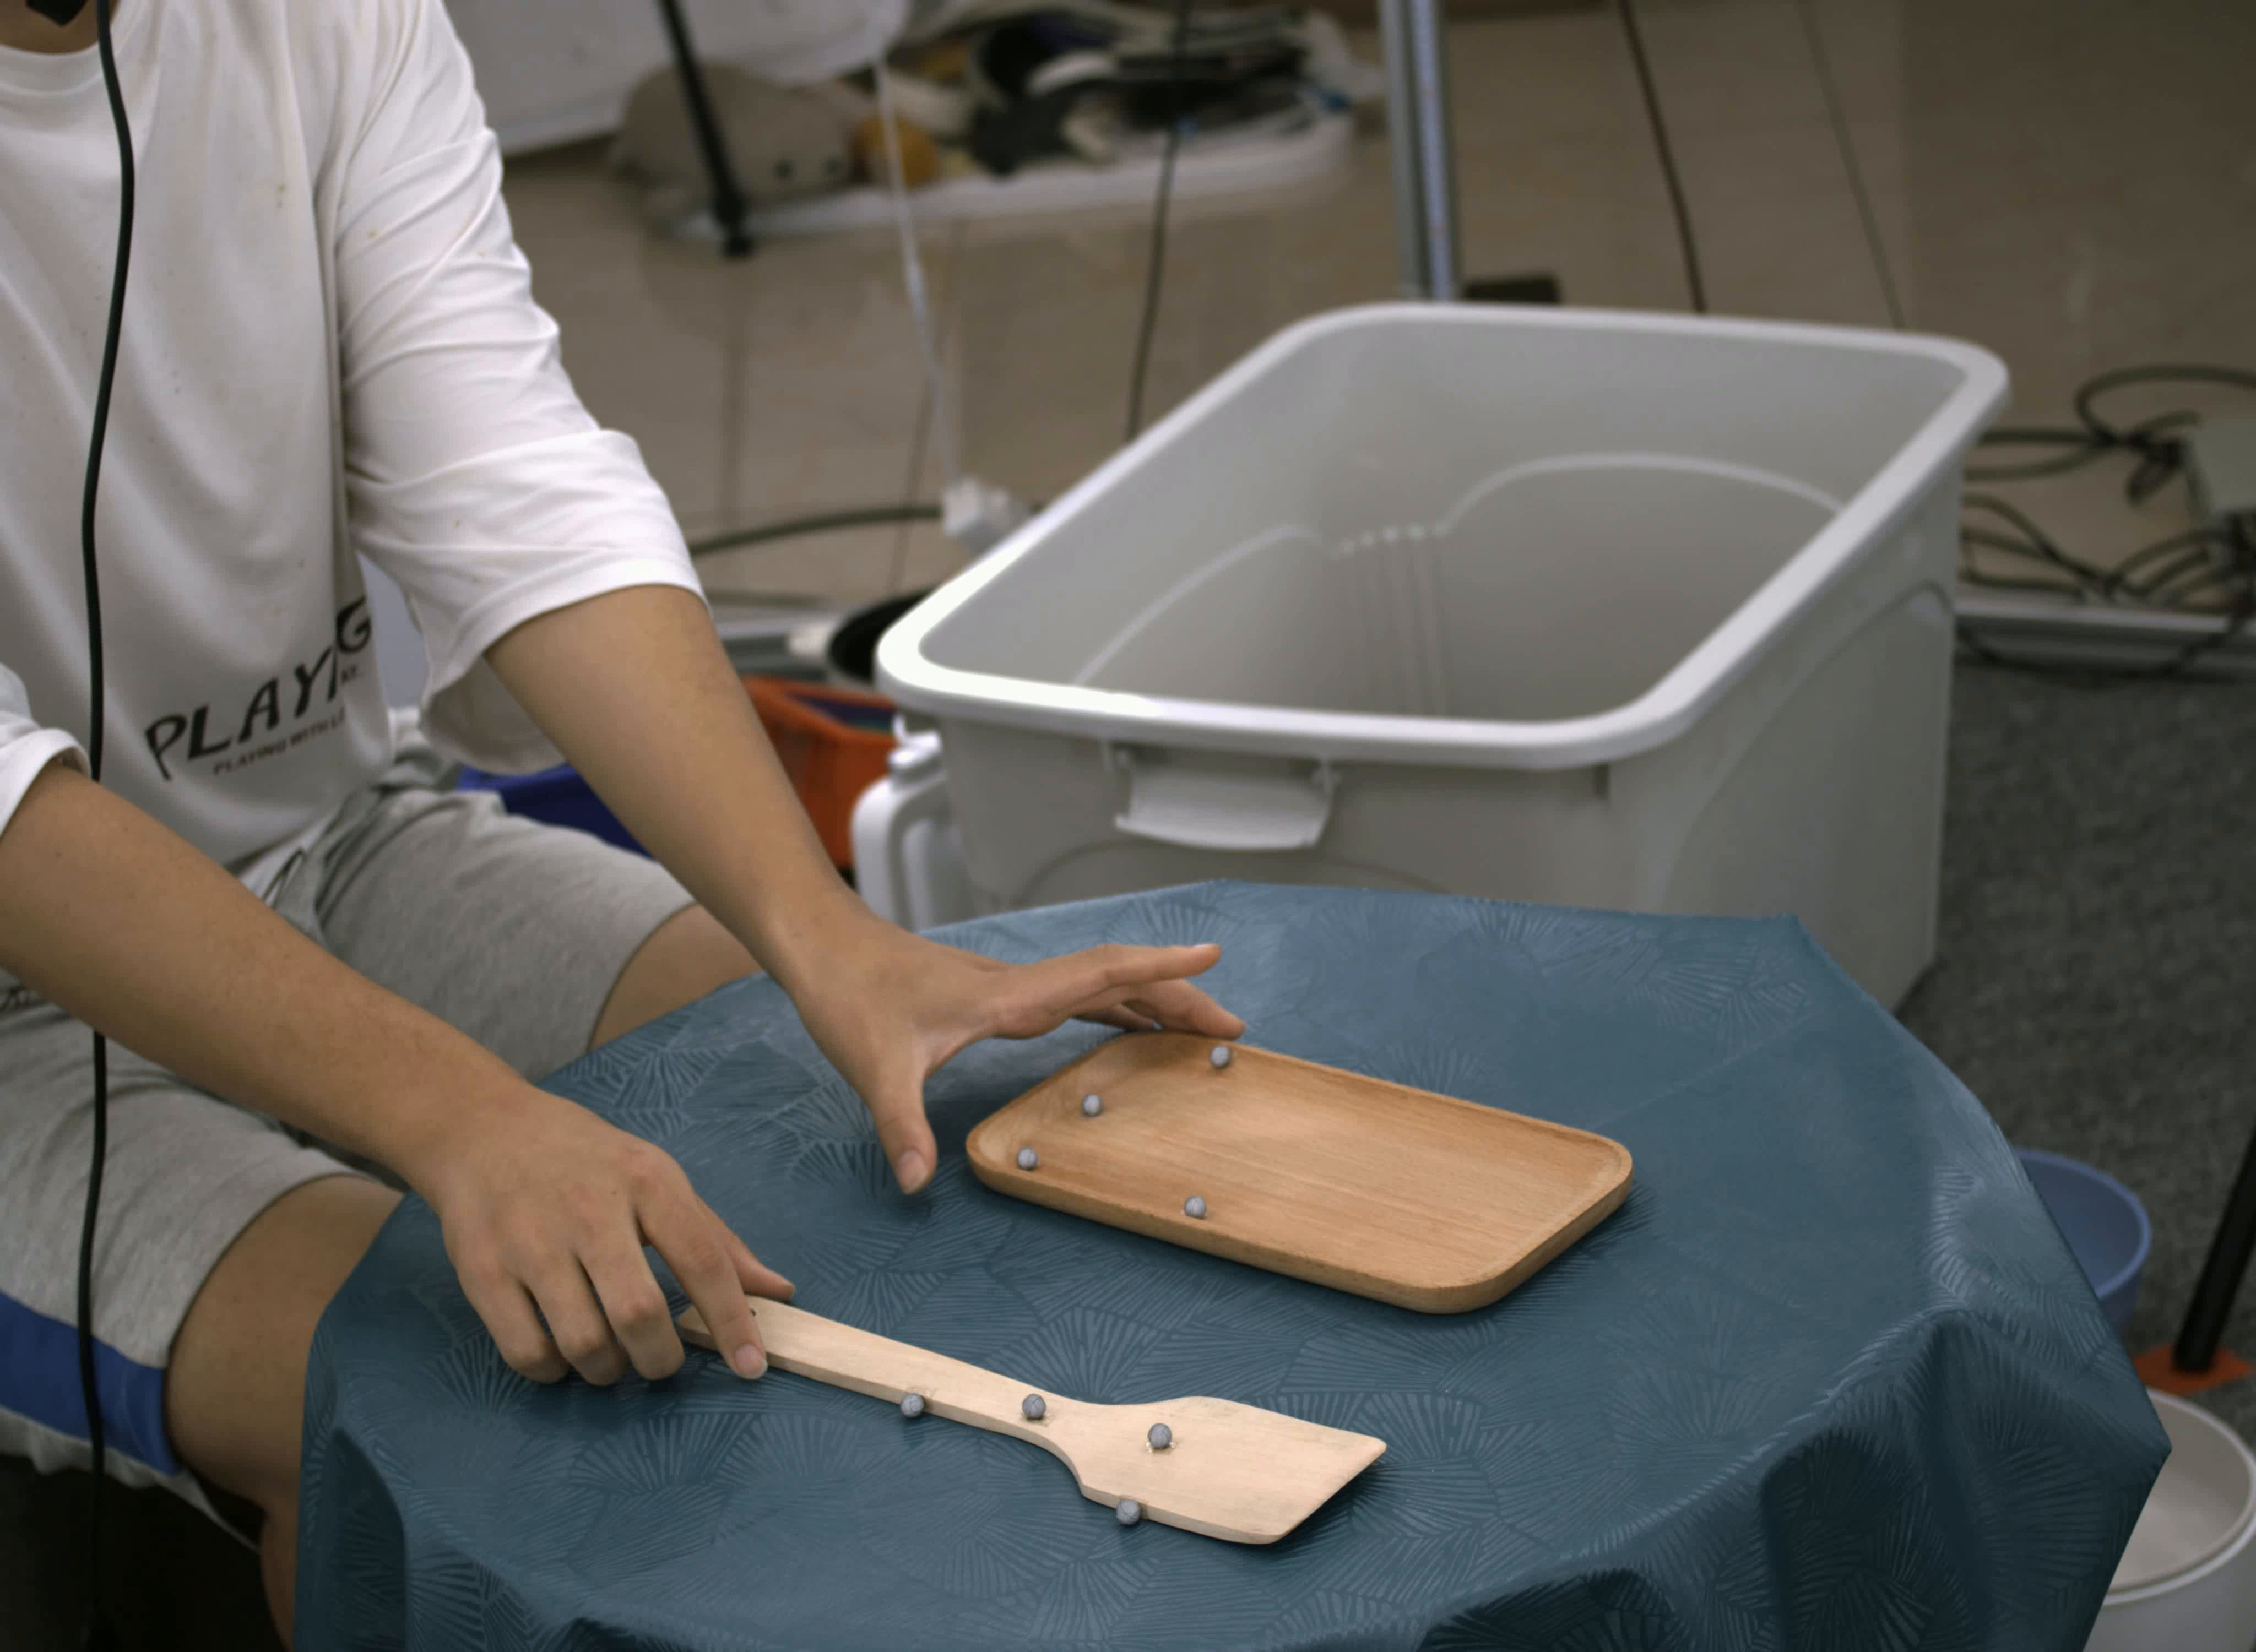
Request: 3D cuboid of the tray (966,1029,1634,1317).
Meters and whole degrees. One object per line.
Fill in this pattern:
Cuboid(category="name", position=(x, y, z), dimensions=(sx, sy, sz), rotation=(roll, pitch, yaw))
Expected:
Cuboid(category="tray", position=(0.063, 0.129, 2.133), dimensions=(0.249, 0.023, 0.129), rotation=(15, 35, 38))

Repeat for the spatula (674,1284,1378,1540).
Cuboid(category="spatula", position=(-0.048, 0.202, 2.009), dimensions=(0.291, 0.011, 0.071), rotation=(12, 32, 35))
